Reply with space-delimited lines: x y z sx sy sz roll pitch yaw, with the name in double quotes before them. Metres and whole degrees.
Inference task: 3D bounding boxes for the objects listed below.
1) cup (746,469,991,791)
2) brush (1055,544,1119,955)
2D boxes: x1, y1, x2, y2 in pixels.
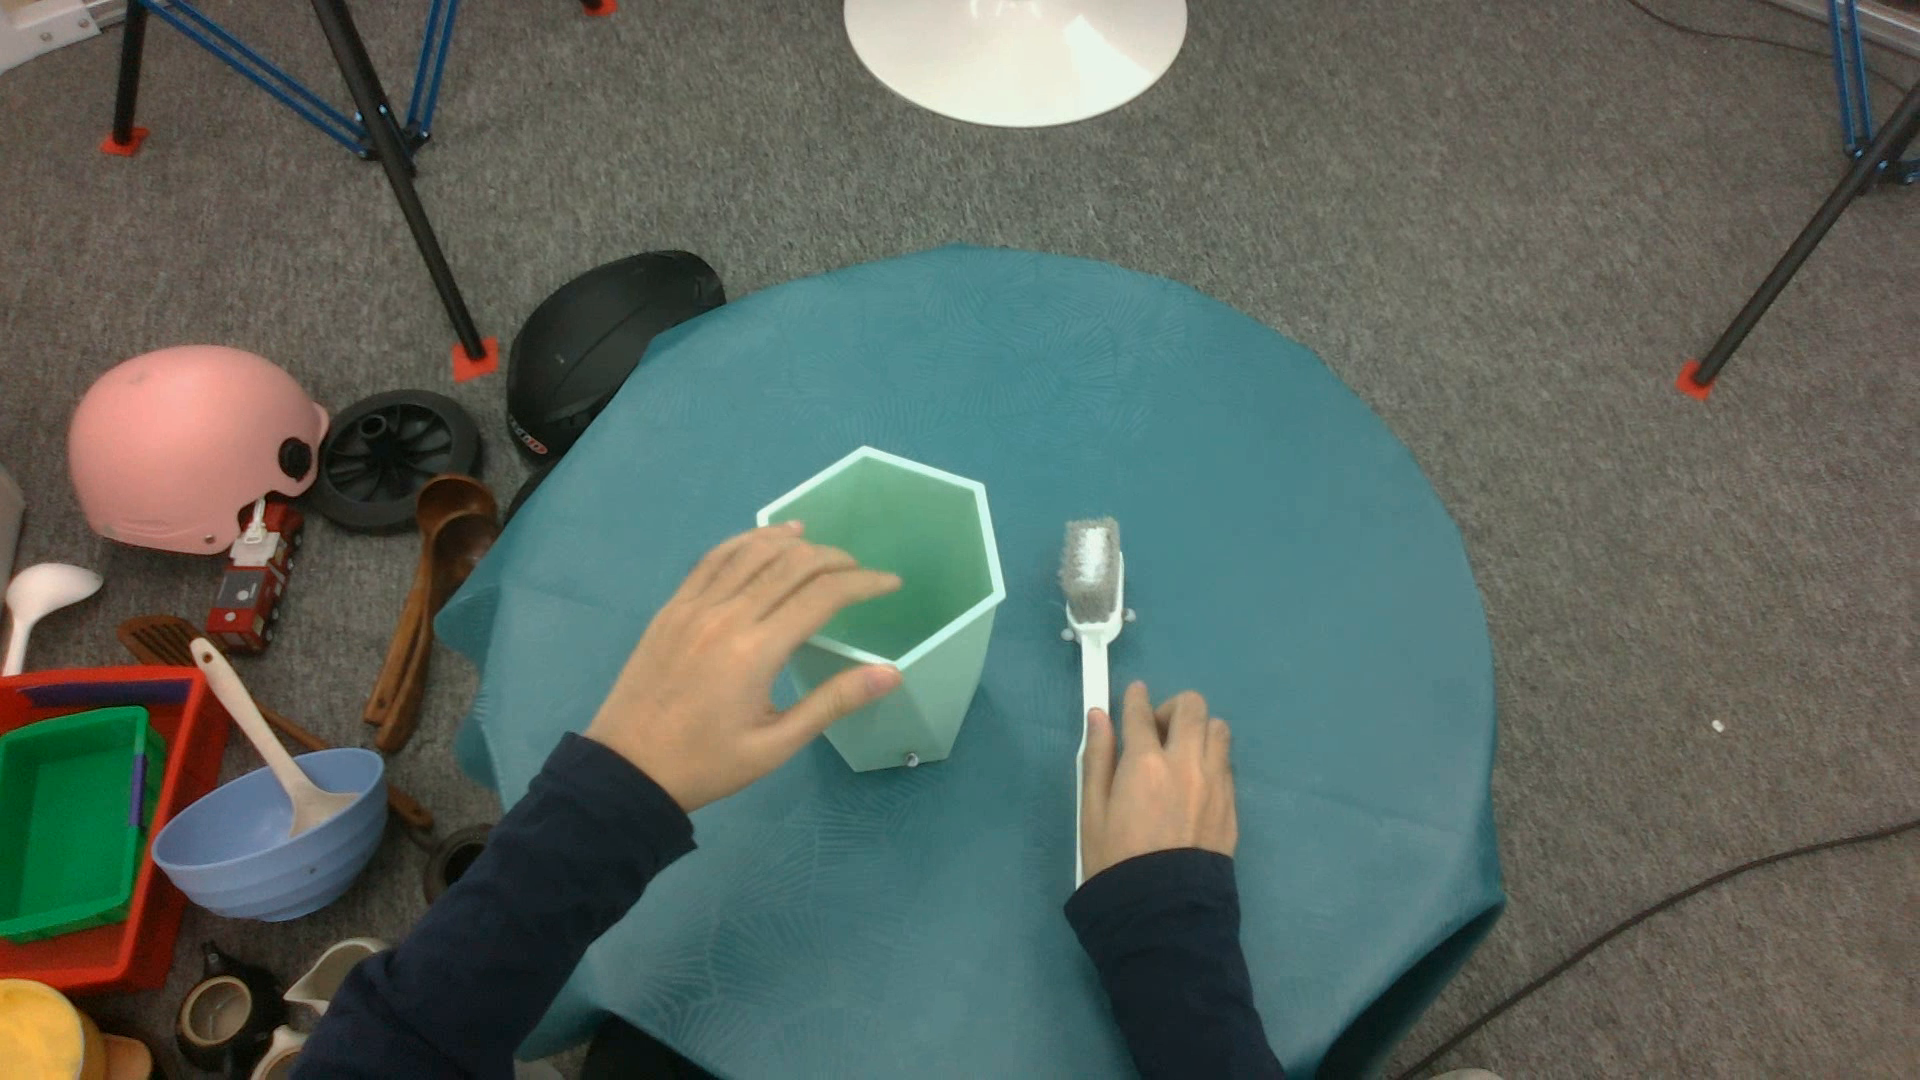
"cup" -0.047 0.060 0.746 0.131 0.162 0.115 -35 64 -21
"brush" 0.071 0.109 0.785 0.034 0.050 0.245 2 57 5
